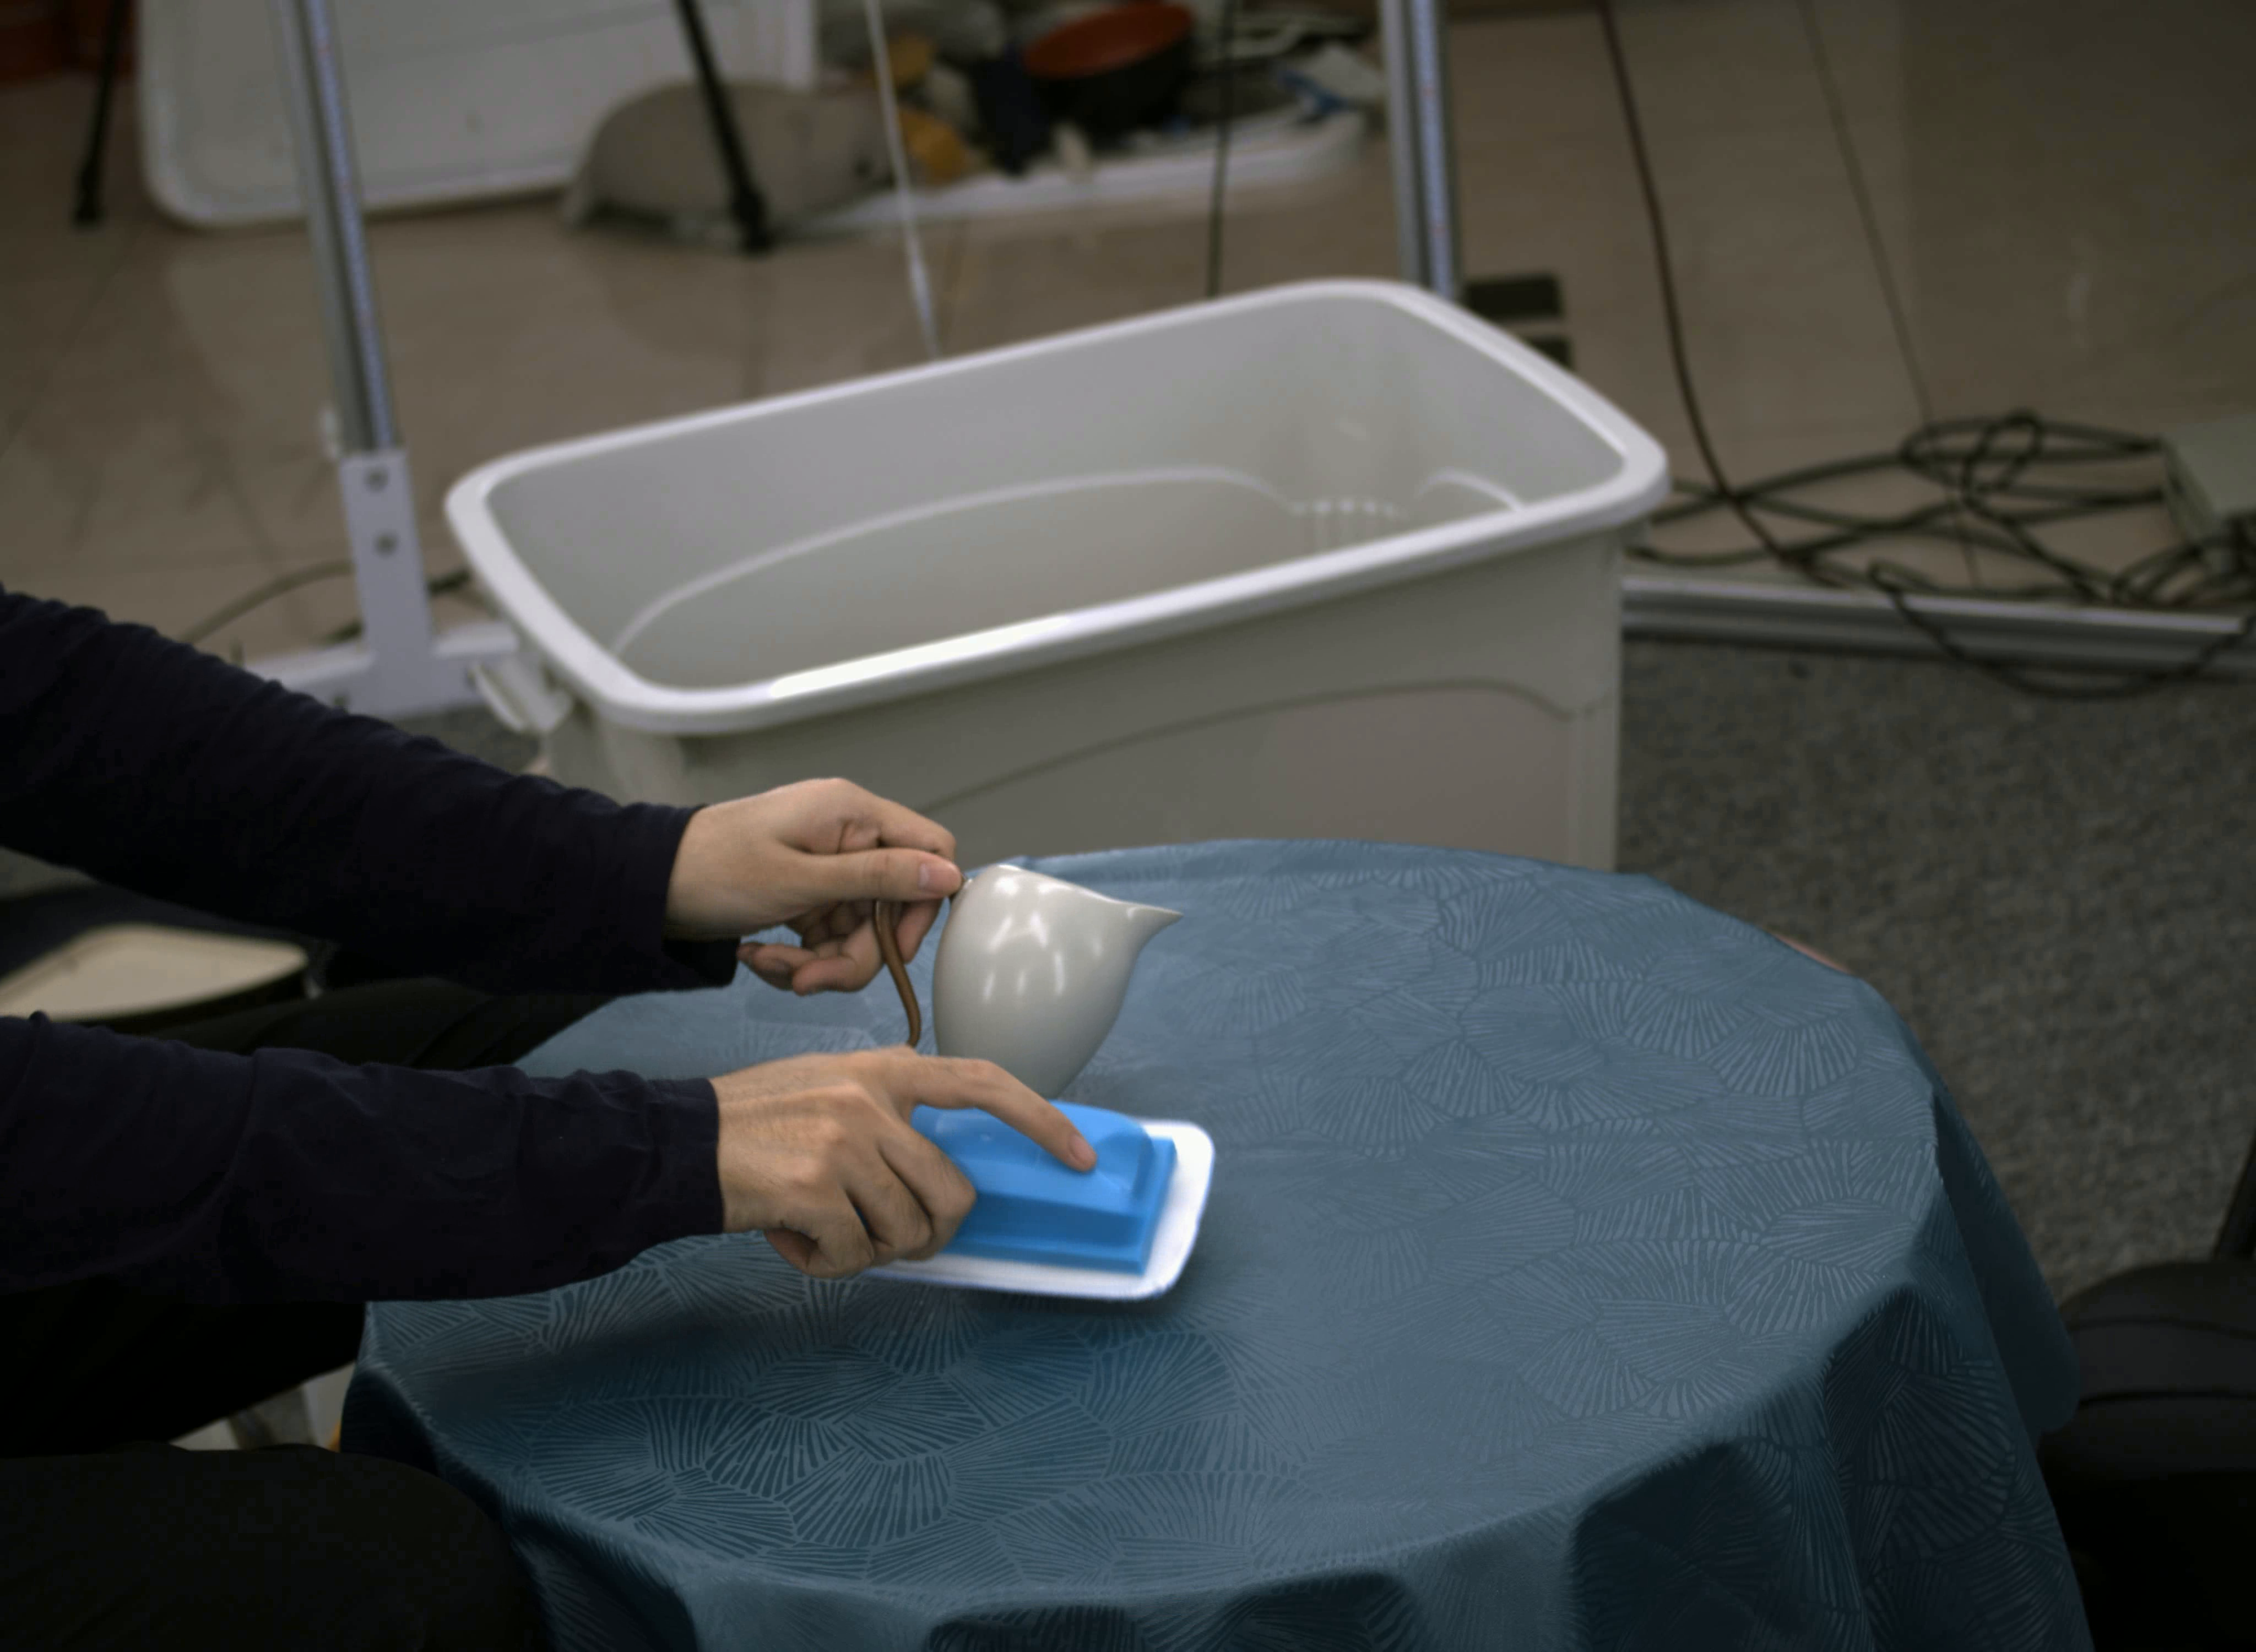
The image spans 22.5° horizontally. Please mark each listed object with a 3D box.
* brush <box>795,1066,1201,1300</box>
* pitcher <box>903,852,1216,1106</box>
[{"bbox_3d":[-0.050,0.127,2.078,0.143,0.057,0.082,8,53,18],"label":"brush"},{"bbox_3d":[-0.037,0.061,2.202,0.119,0.087,0.076,22,-8,5],"label":"pitcher"}]
